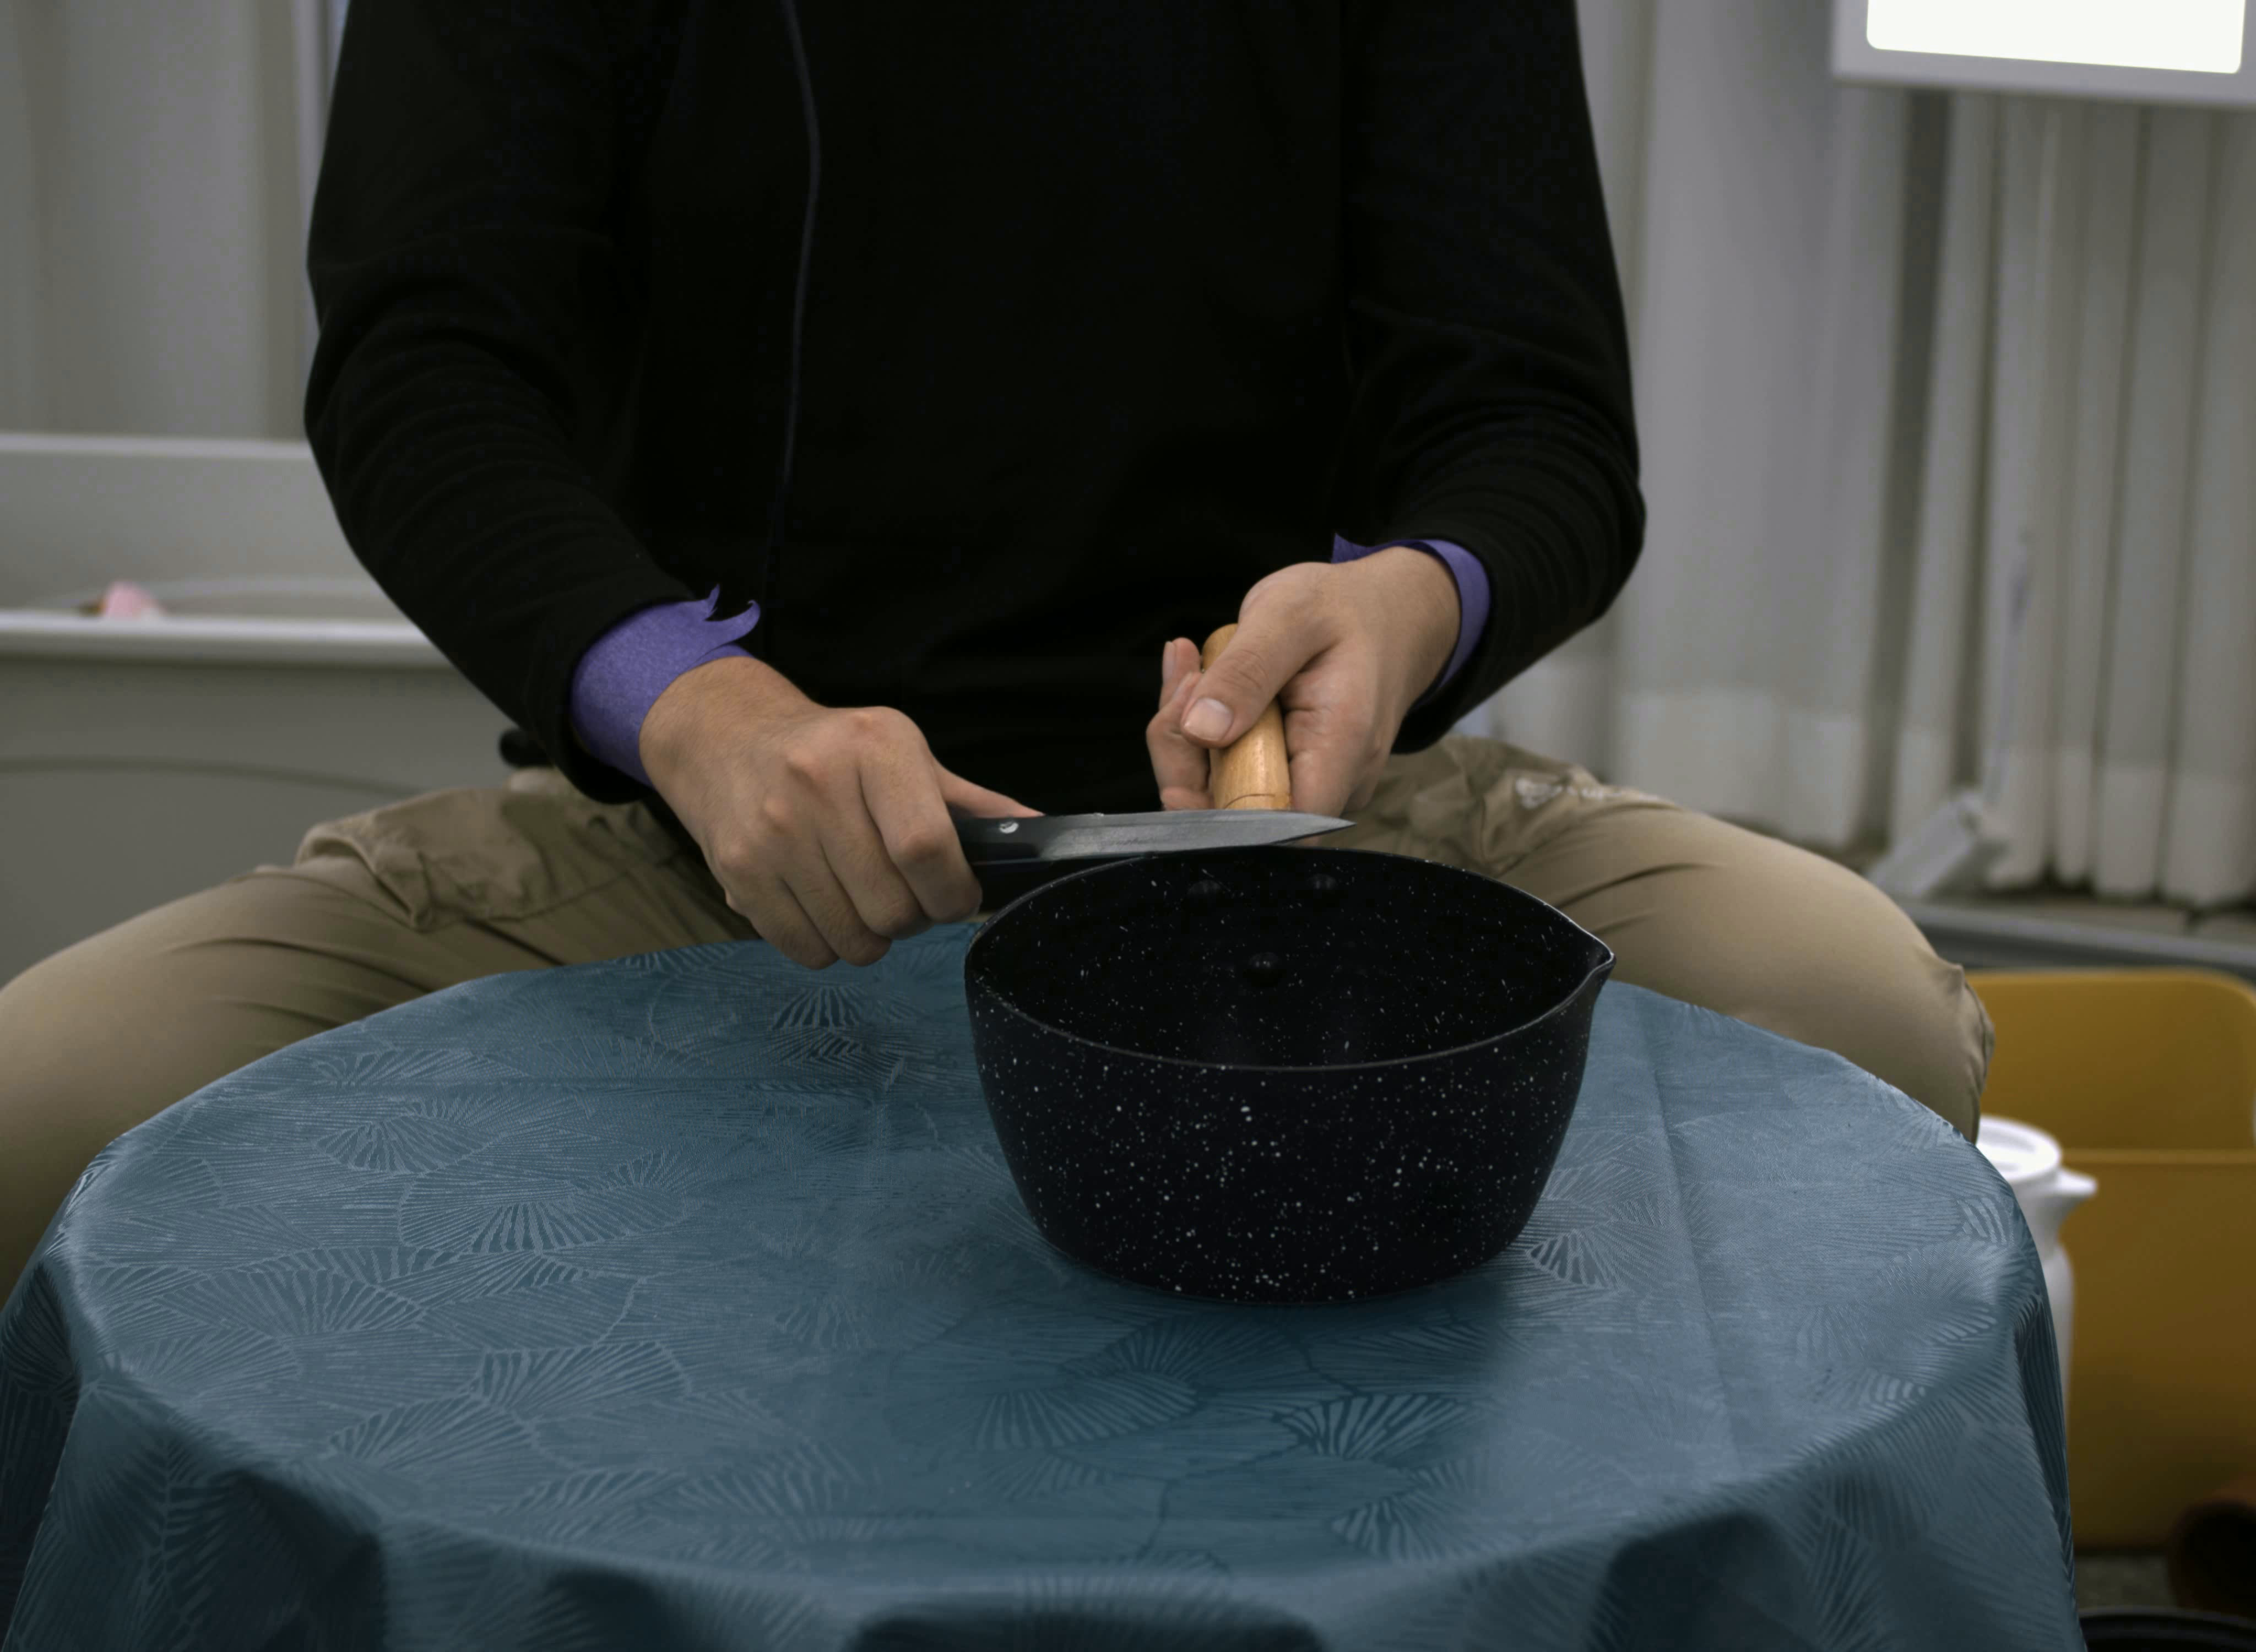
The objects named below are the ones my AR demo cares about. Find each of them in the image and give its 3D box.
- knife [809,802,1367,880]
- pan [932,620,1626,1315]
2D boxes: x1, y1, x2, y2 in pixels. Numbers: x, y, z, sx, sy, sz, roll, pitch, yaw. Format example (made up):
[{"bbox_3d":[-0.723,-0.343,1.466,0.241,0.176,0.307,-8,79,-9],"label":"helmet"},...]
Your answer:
[{"bbox_3d":[-0.017,0.004,1.672,0.235,0.016,0.024,-4,35,41],"label":"knife"},{"bbox_3d":[0.042,0.039,1.649,0.207,0.109,0.340,-1,21,-3],"label":"pan"}]
